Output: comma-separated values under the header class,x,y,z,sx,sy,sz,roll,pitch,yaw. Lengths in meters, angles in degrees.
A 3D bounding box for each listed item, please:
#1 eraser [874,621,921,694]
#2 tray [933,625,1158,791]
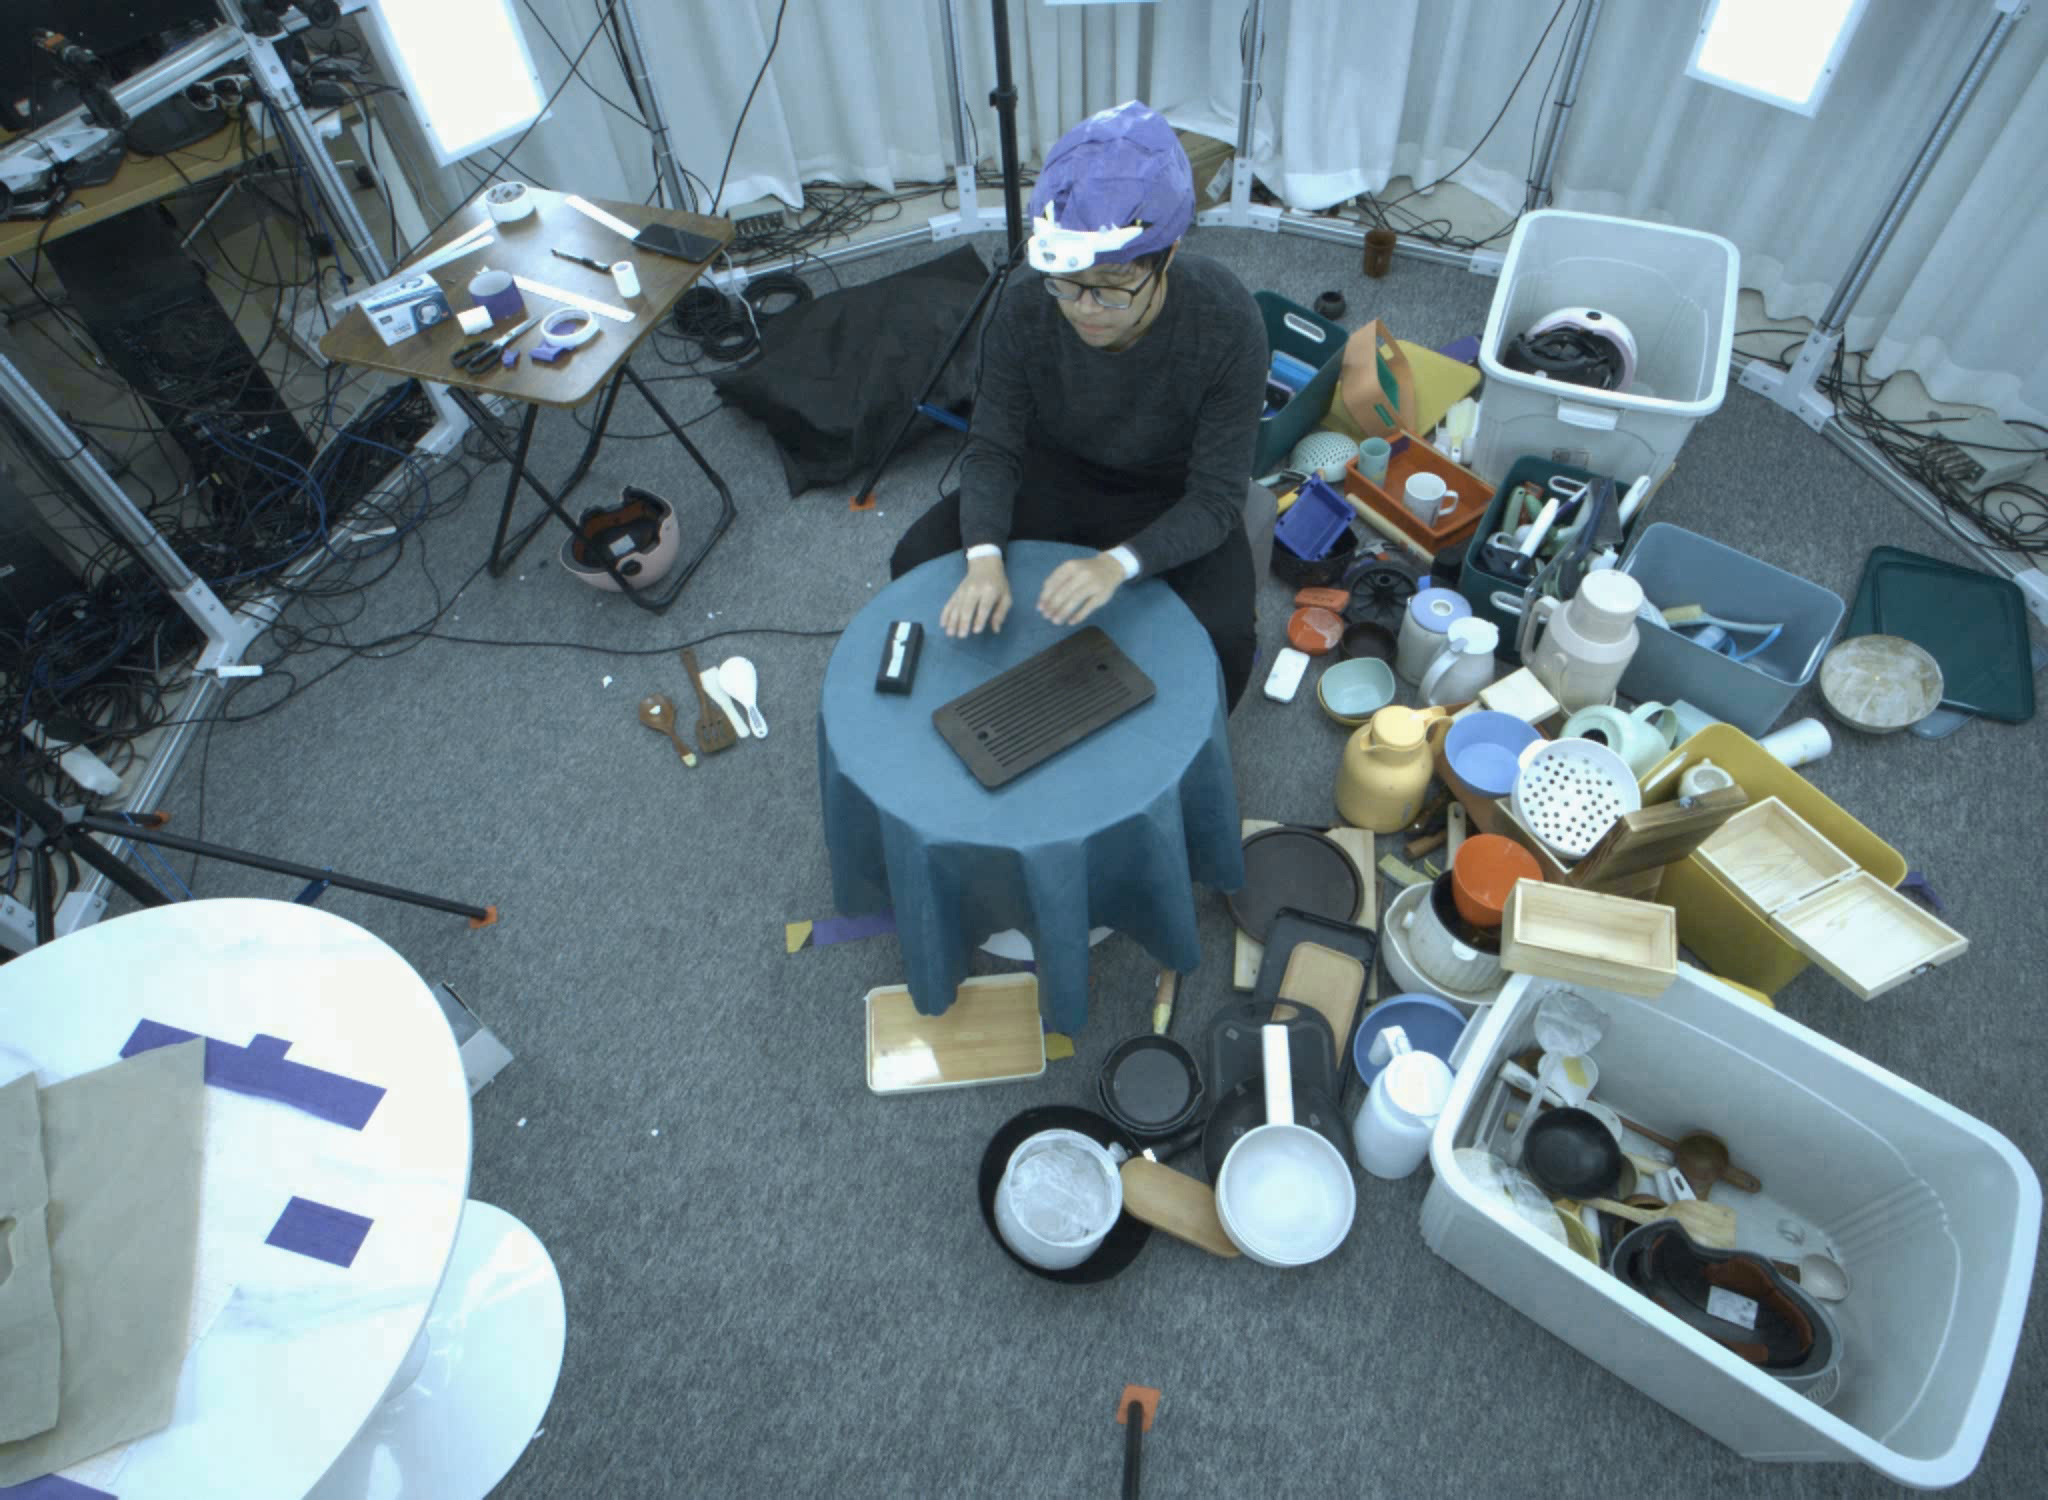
class,x,y,z,sx,sy,sz,roll,pitch,yaw
eraser,-0.193,-0.142,1.878,0.053,0.031,0.124,5,54,3
tray,0.032,-0.065,1.822,0.308,0.019,0.167,-30,59,-18
